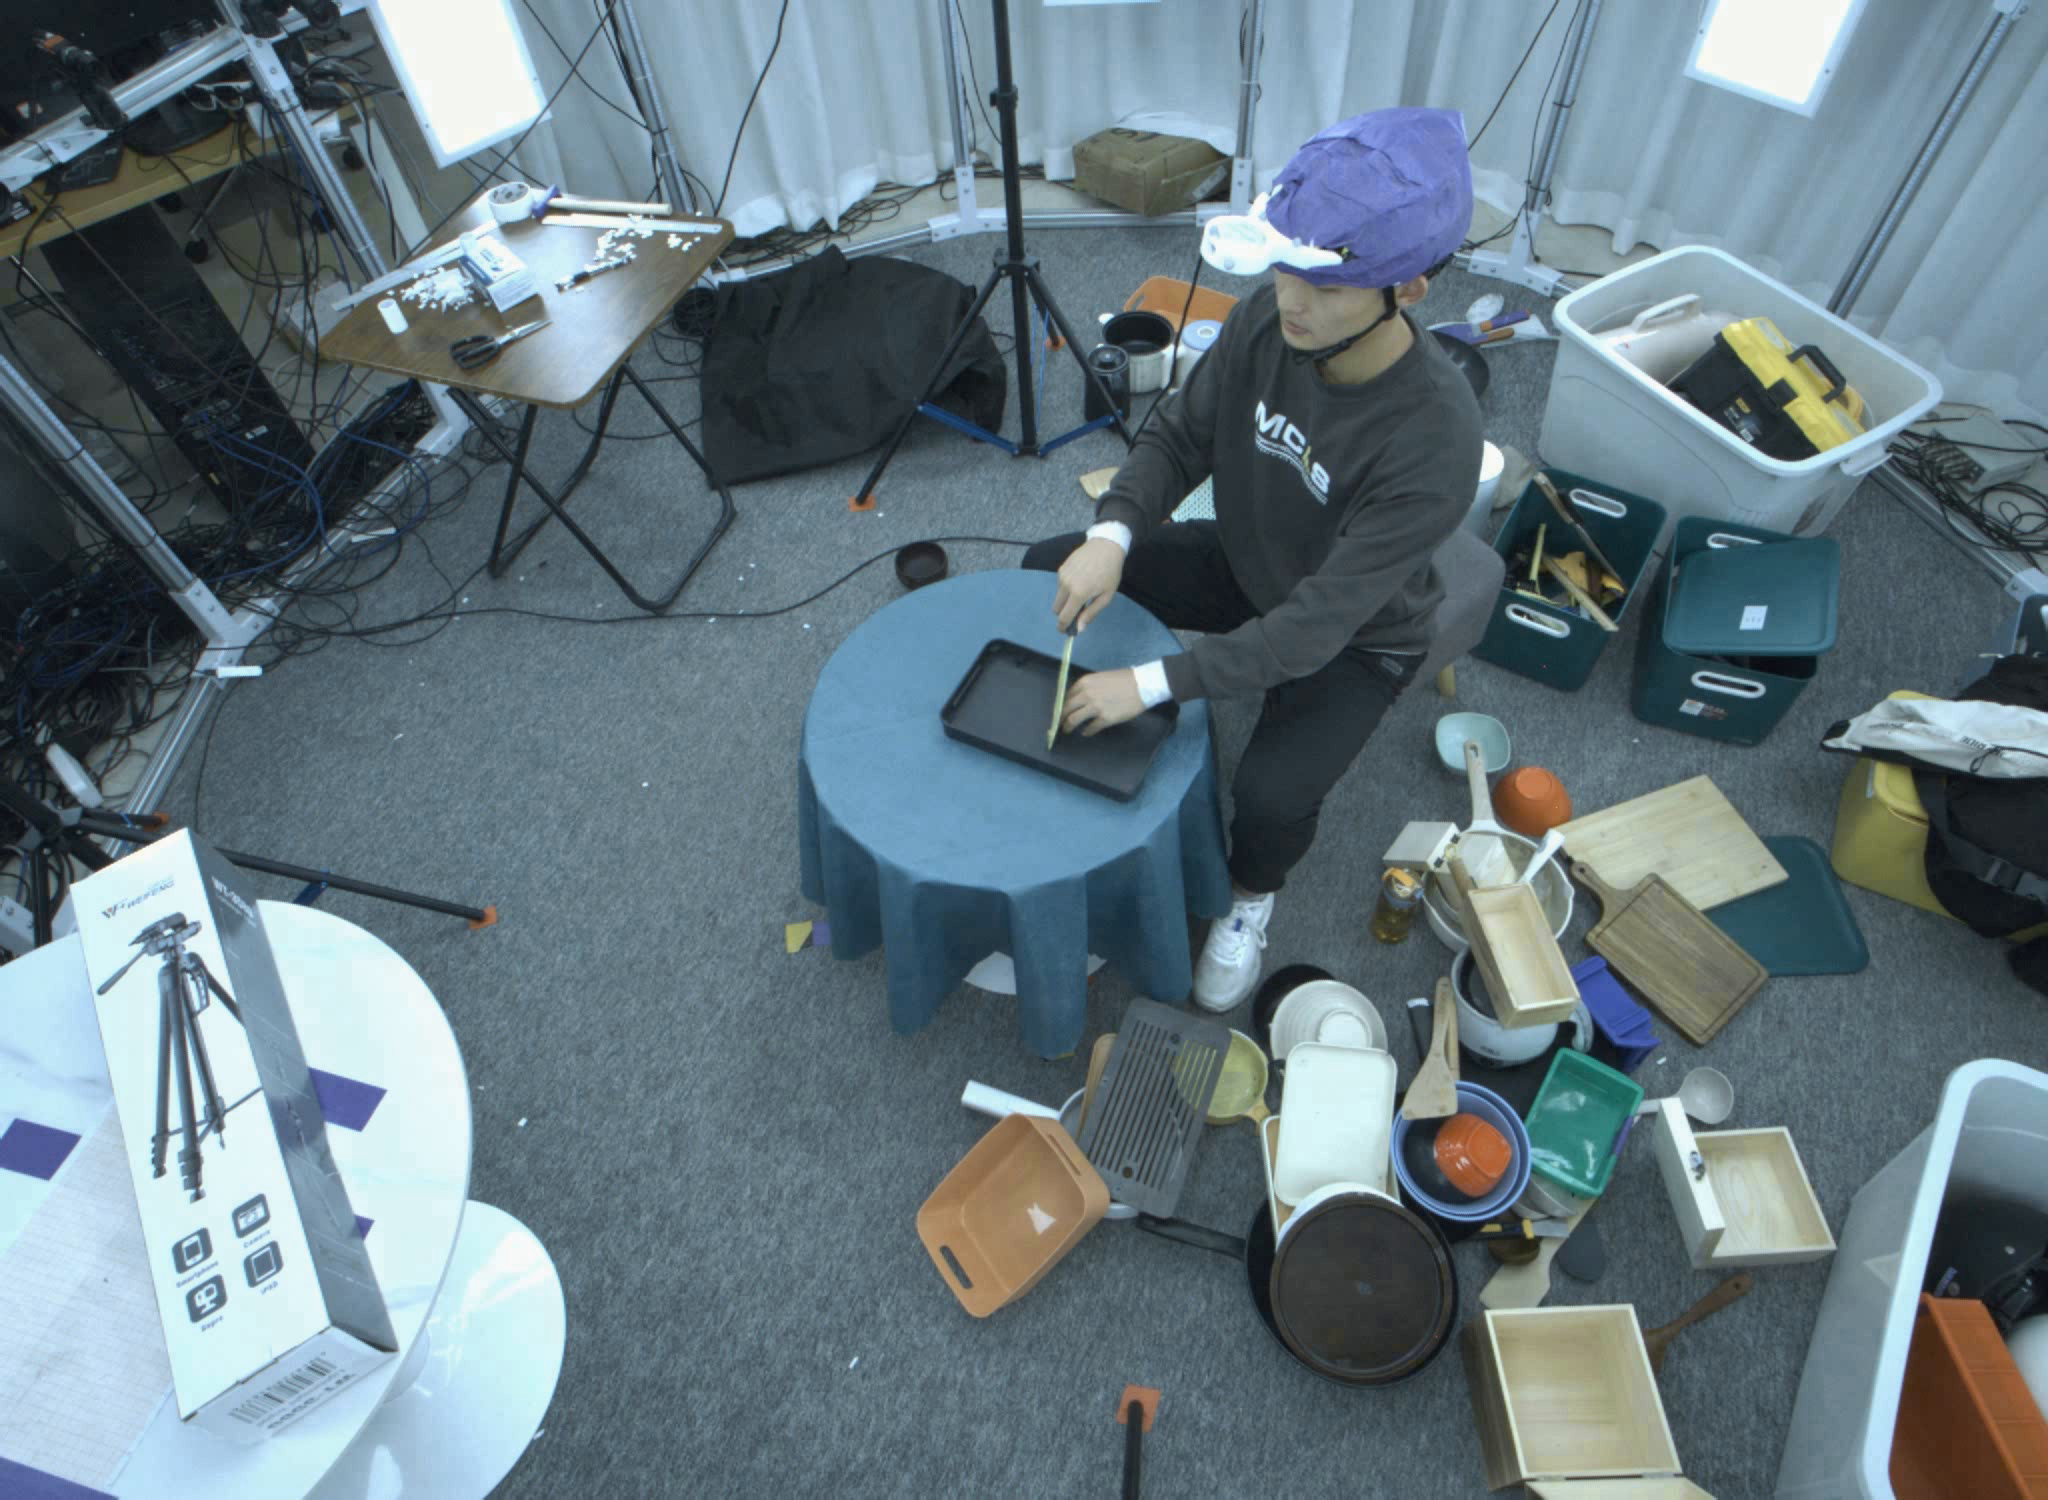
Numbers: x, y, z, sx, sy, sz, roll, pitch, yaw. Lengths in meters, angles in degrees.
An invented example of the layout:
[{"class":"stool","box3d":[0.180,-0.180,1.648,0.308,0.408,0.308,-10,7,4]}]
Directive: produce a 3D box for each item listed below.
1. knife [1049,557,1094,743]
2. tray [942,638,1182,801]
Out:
[{"class":"knife","box3d":[0.065,-0.147,1.805,0.027,0.080,0.288,14,76,-8]},{"class":"tray","box3d":[0.056,-0.048,1.804,0.314,0.037,0.184,19,57,14]}]
